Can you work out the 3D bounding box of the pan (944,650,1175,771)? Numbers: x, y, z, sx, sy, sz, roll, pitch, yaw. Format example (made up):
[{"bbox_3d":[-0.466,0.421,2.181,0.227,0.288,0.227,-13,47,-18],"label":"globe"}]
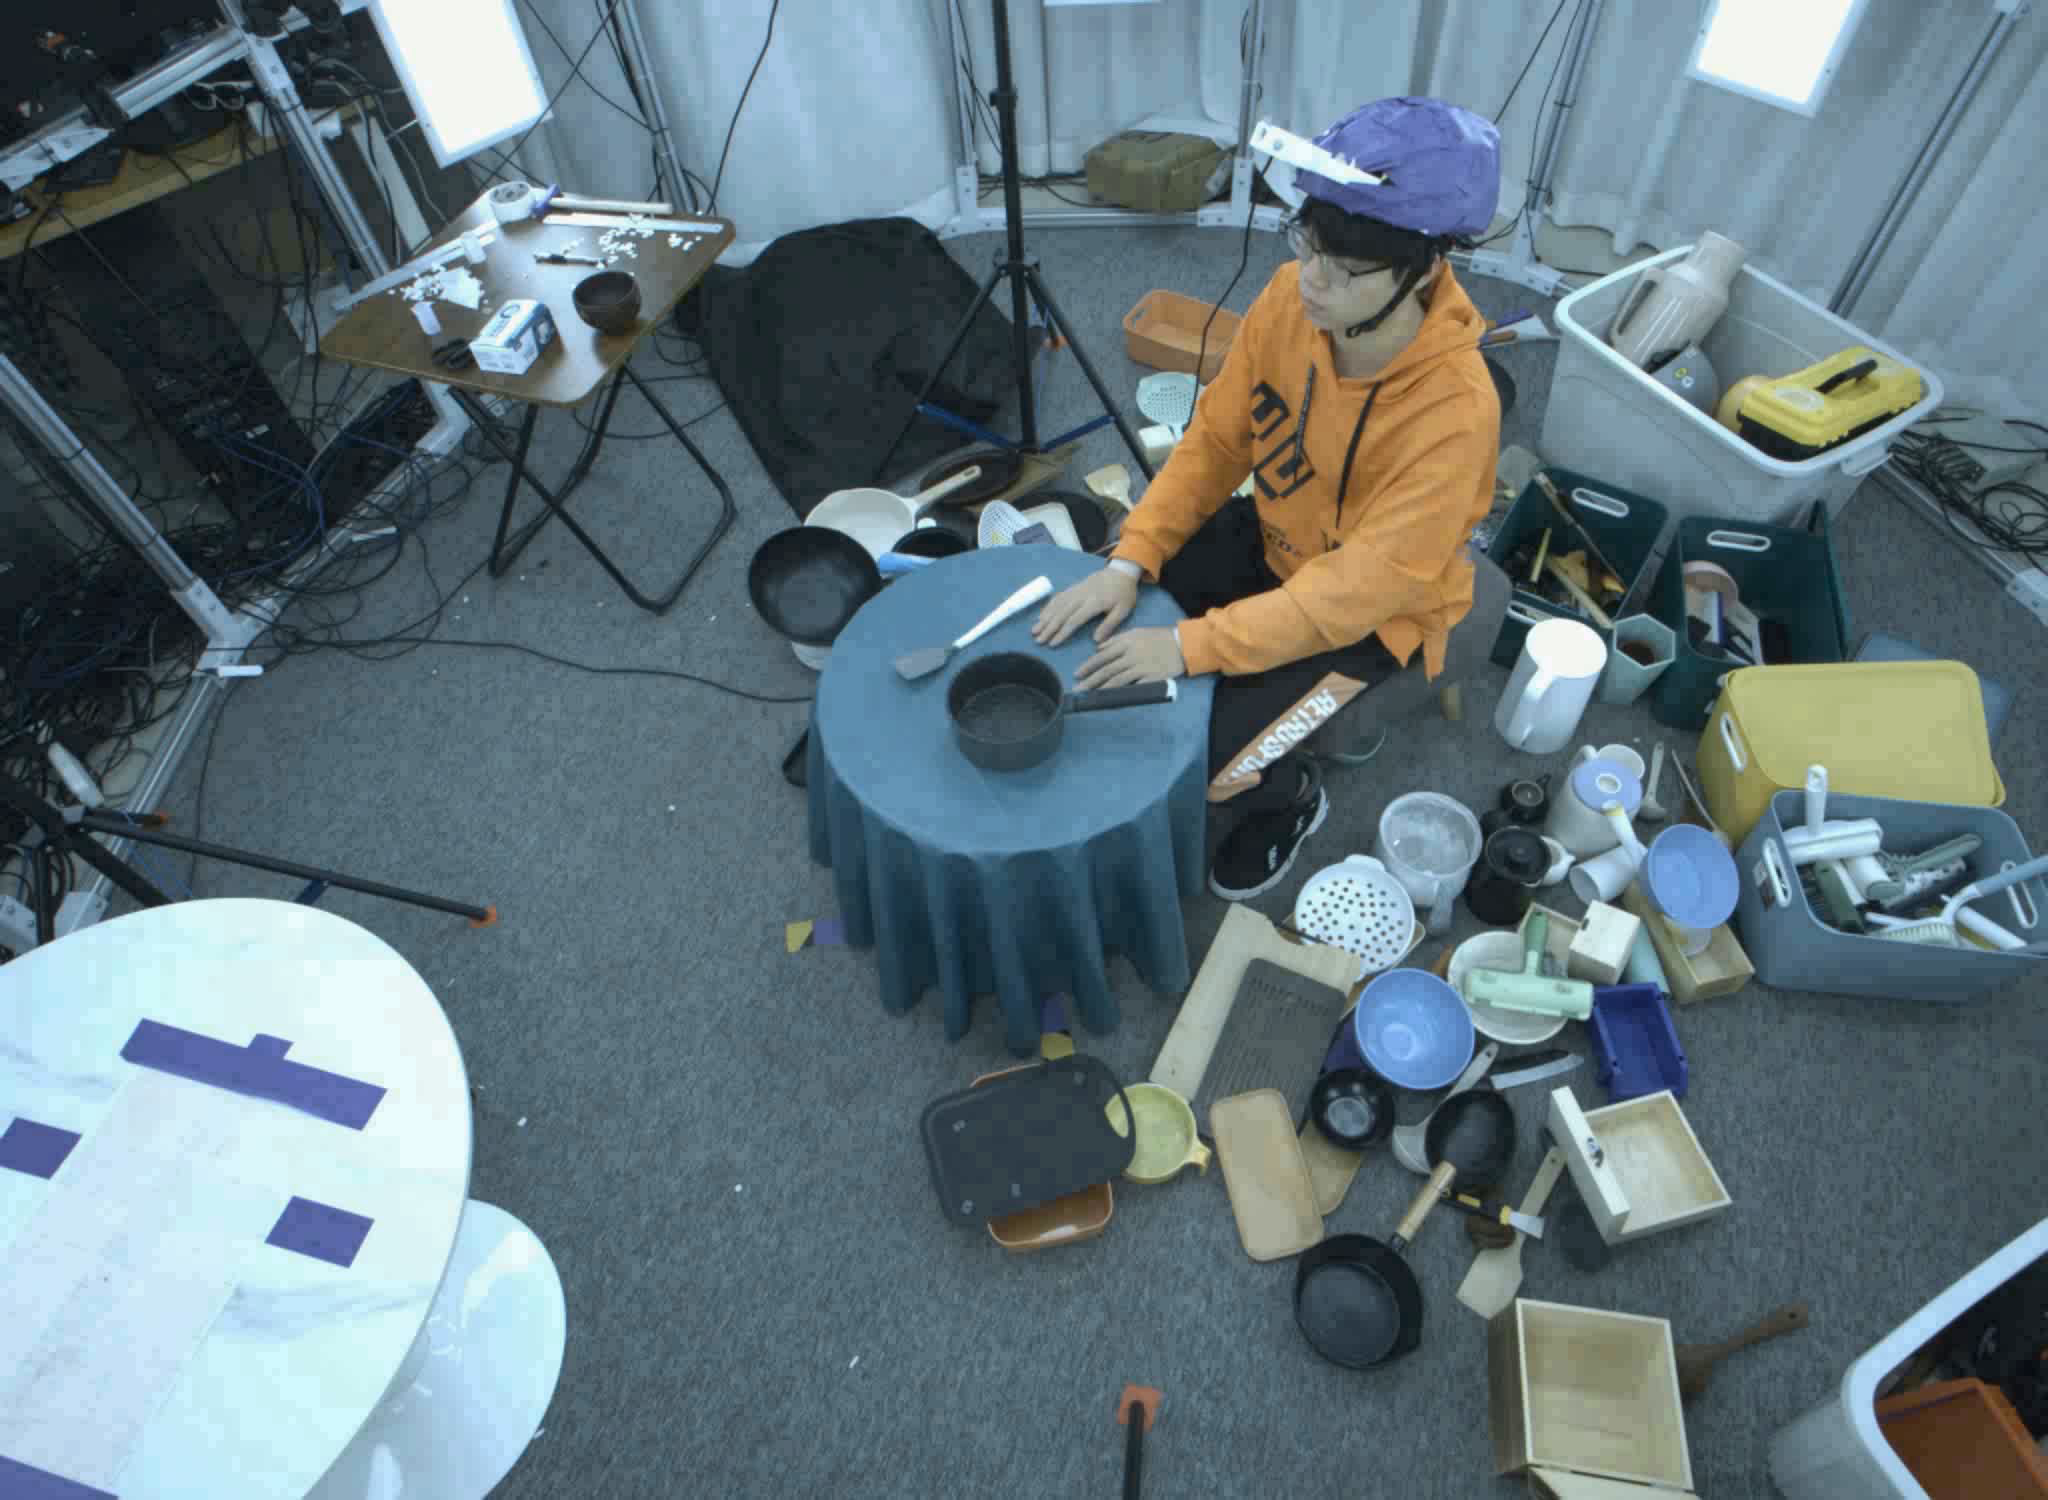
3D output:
[{"bbox_3d":[0.053,-0.058,1.774,0.328,0.087,0.170,0,55,4],"label":"pan"}]

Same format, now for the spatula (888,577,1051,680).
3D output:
[{"bbox_3d":[-0.080,-0.187,1.903,0.290,0.032,0.058,-33,64,-21],"label":"spatula"}]
